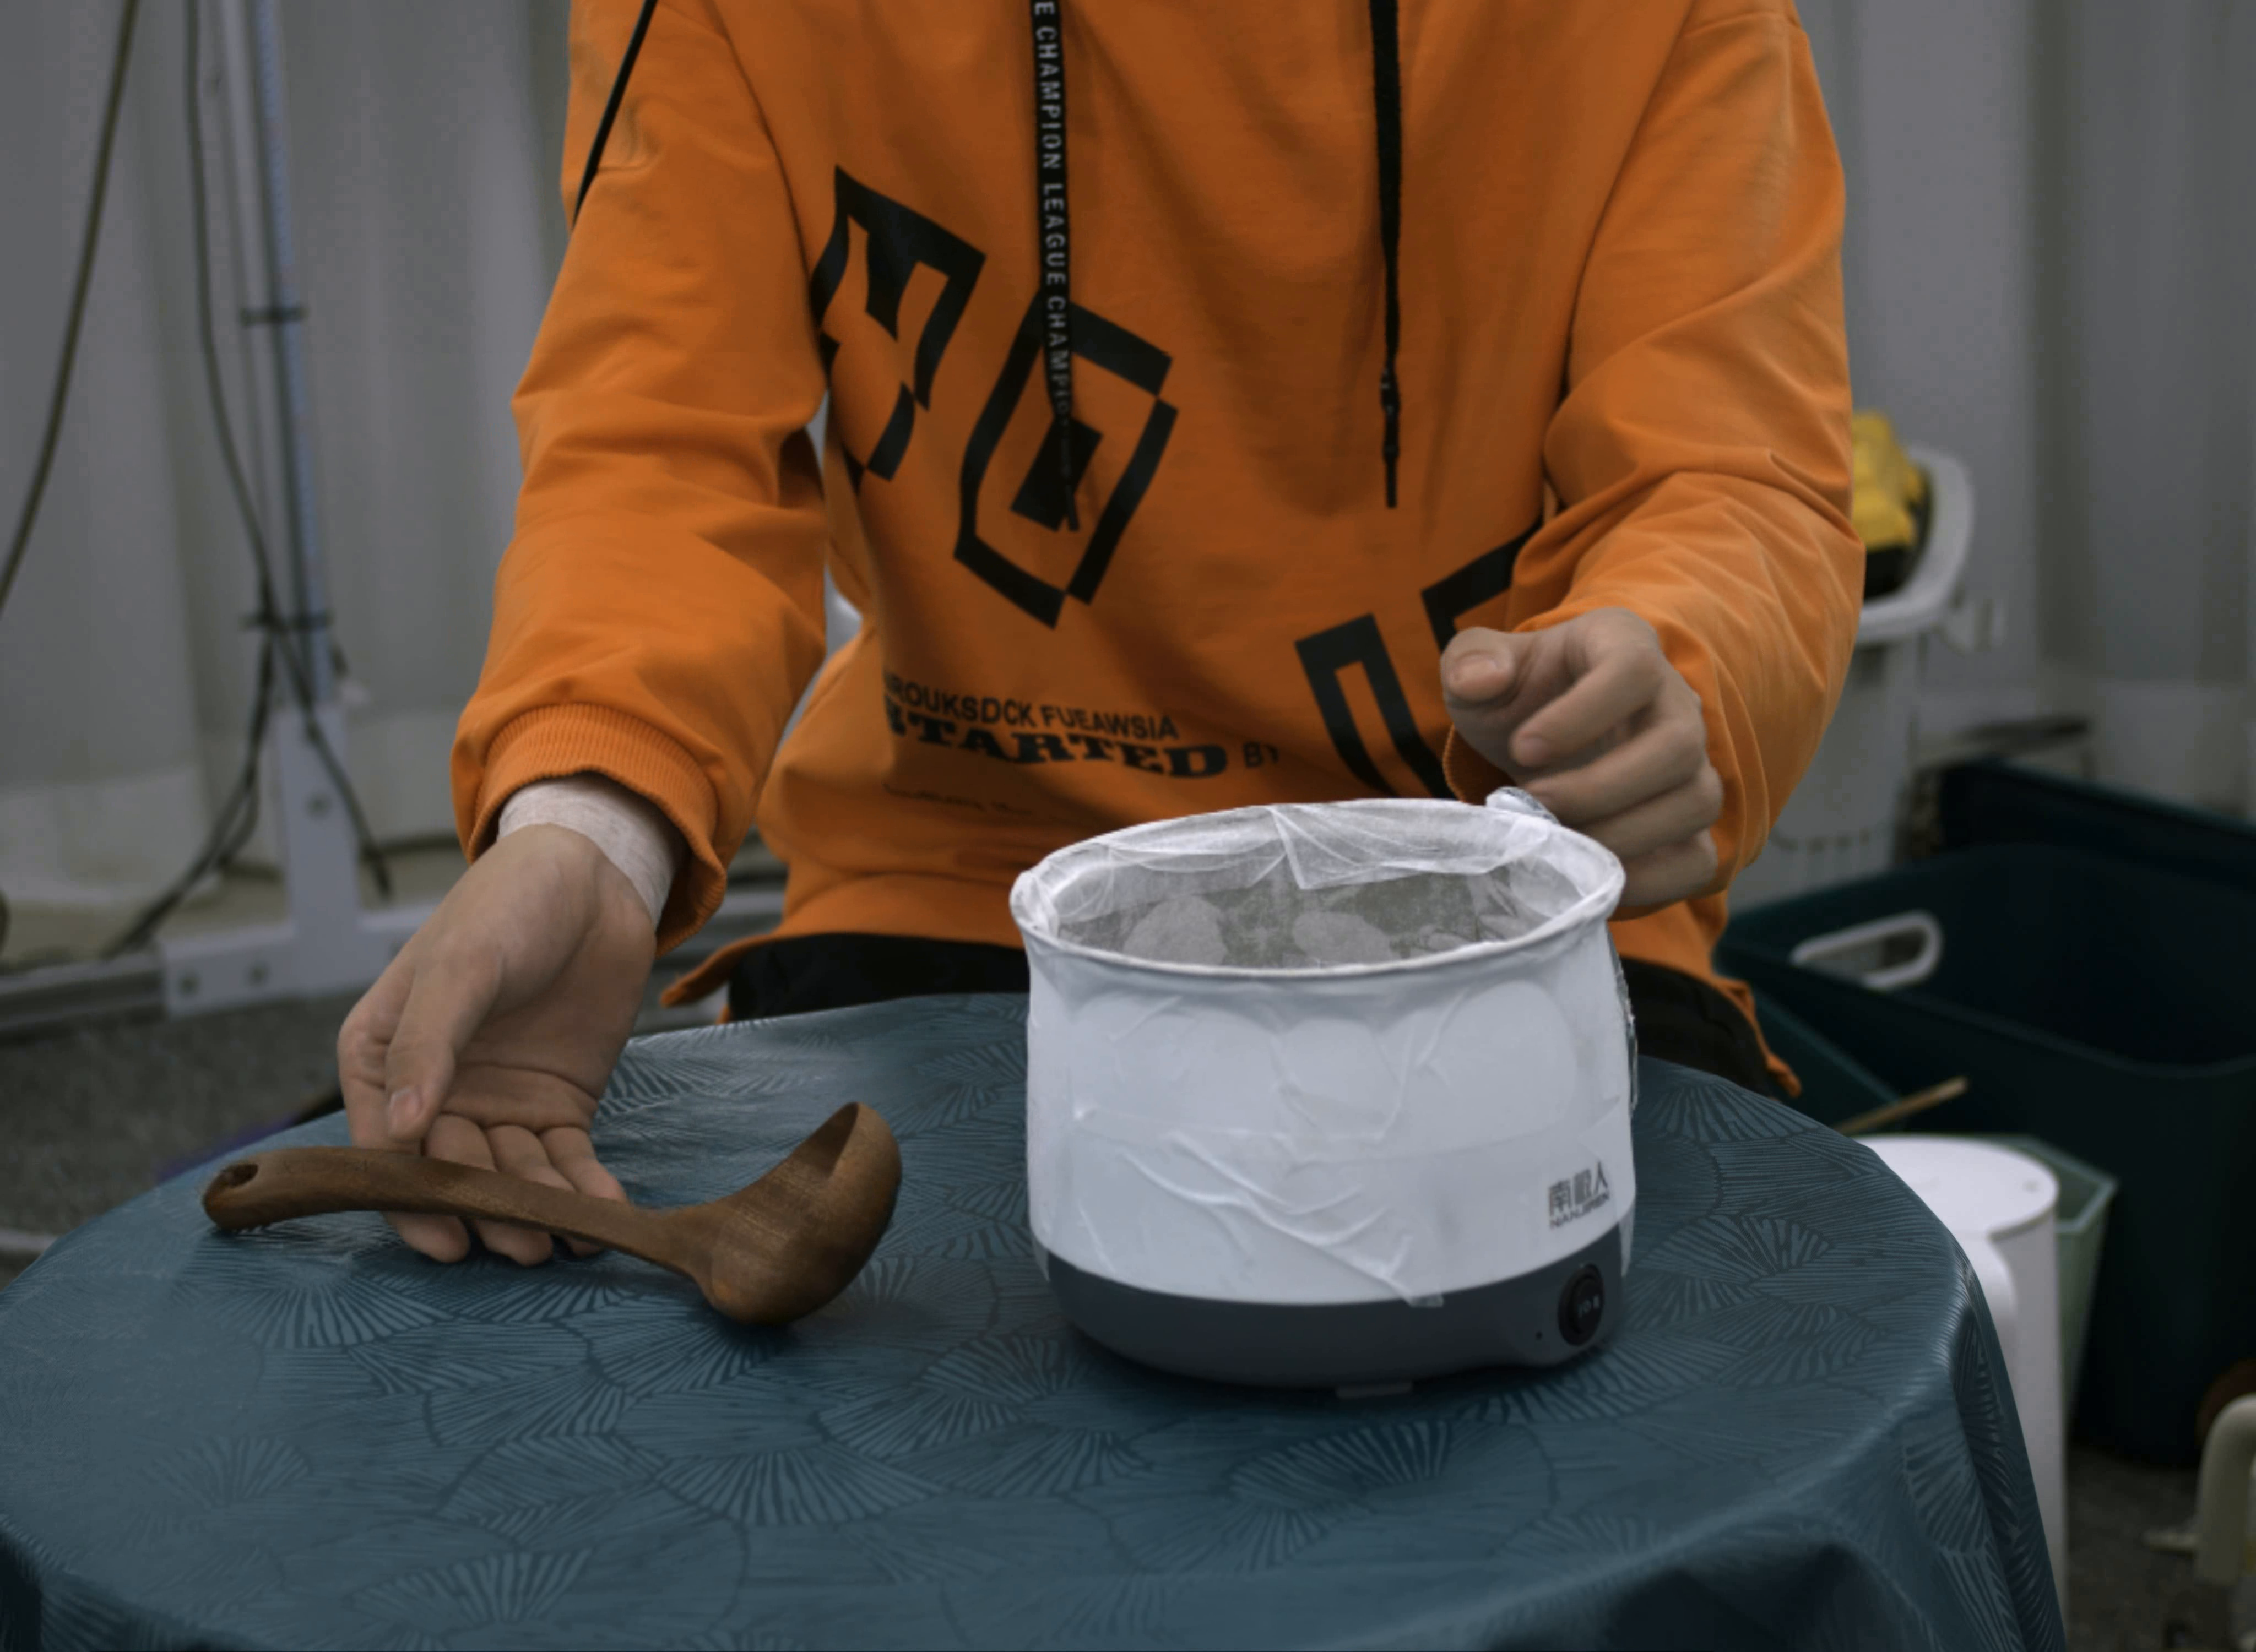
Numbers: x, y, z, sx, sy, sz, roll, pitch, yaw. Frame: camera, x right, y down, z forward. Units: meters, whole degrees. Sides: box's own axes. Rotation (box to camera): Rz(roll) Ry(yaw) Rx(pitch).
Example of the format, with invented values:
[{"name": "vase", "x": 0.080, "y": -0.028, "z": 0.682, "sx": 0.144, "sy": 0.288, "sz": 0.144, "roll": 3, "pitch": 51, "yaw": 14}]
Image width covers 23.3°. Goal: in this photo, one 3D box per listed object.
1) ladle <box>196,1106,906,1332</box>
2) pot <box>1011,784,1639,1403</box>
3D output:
[{"name": "ladle", "x": -0.182, "y": 0.109, "z": 1.658, "sx": 0.261, "sy": 0.064, "sz": 0.077, "roll": 6, "pitch": 41, "yaw": 27}, {"name": "pot", "x": 0.074, "y": 0.071, "z": 1.602, "sx": 0.179, "sy": 0.136, "sz": 0.233, "roll": 8, "pitch": 19, "yaw": 36}]
